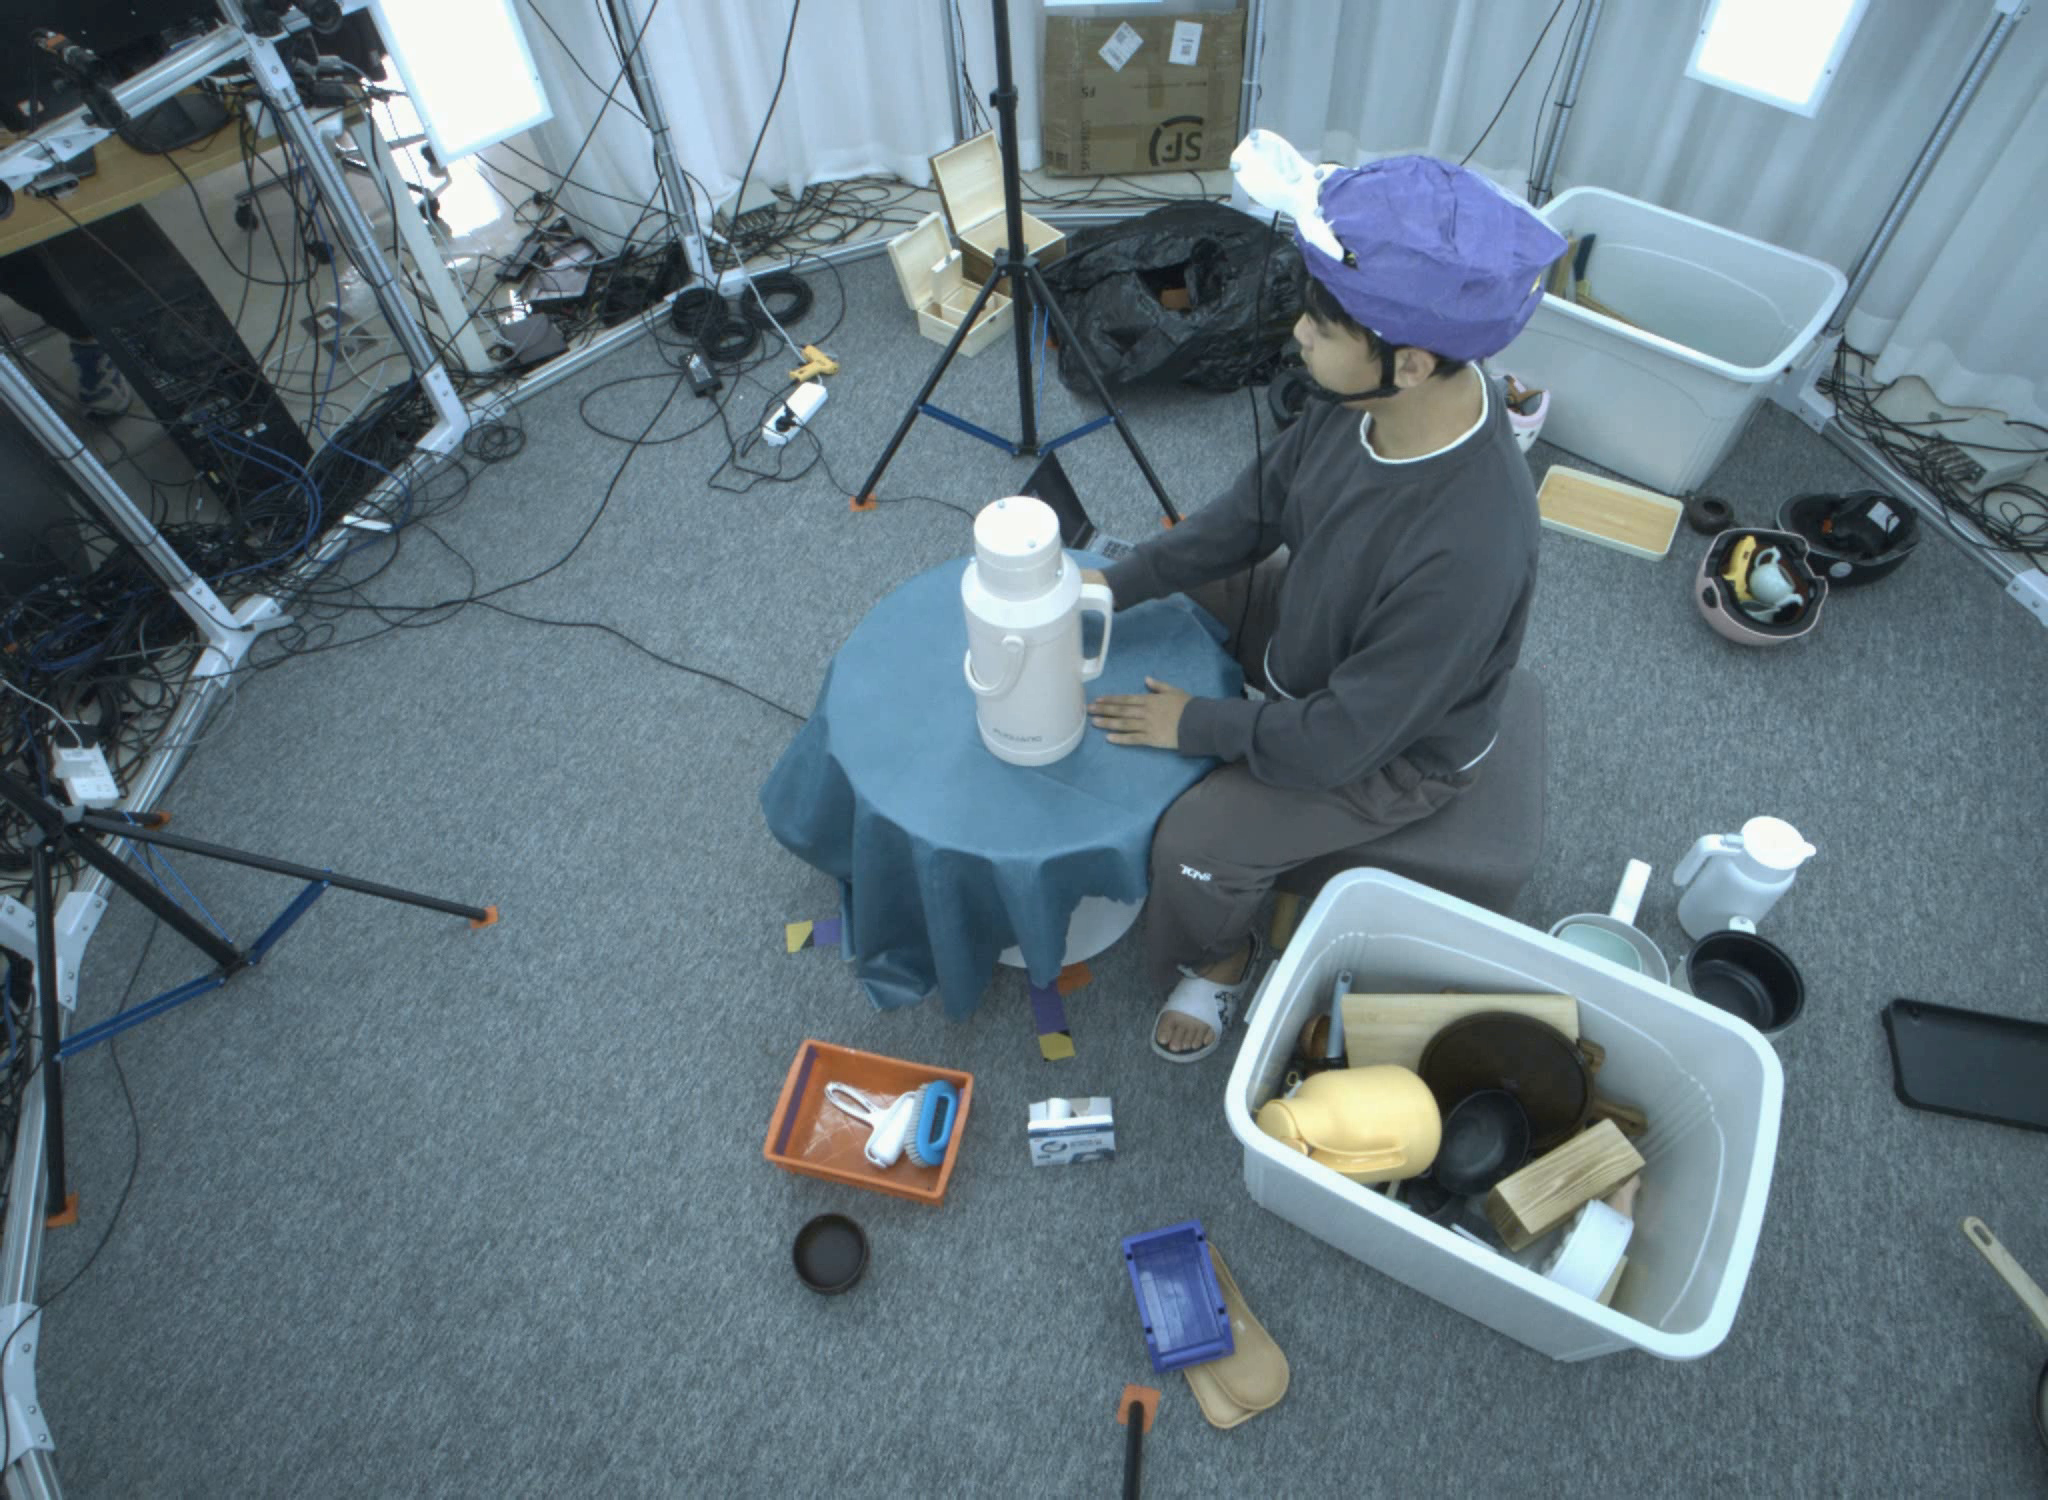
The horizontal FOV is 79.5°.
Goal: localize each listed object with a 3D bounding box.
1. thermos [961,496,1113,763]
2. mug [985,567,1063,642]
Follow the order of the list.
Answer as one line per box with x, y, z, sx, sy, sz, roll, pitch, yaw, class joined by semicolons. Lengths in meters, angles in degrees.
0.016;-0.156;1.653;0.206;0.411;0.174;3;55;6;thermos
-0.001;-0.221;1.887;0.122;0.091;0.093;8;56;9;mug
